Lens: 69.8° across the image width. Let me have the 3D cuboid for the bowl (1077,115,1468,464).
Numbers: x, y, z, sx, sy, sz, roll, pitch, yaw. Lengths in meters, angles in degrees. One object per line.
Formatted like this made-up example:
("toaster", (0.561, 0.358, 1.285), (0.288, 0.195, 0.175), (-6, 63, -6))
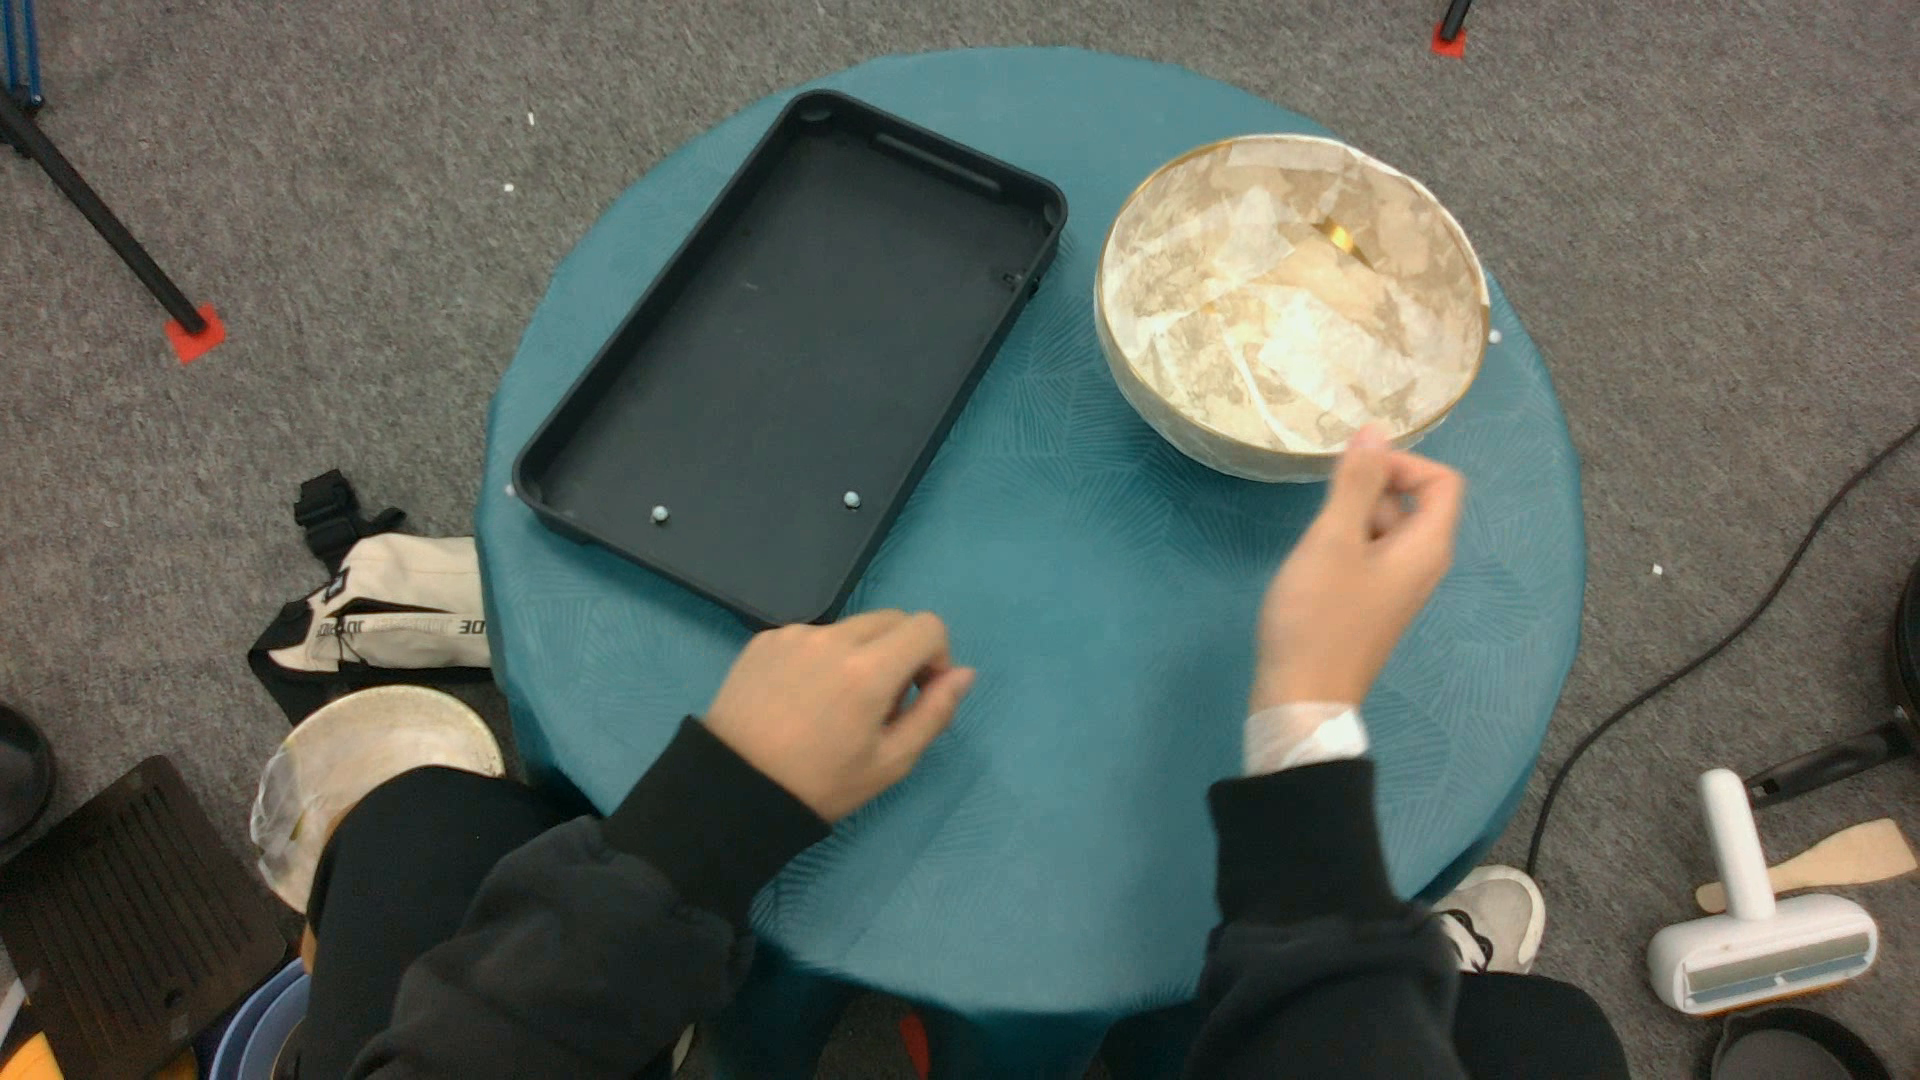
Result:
("bowl", (0.155, -0.120, 0.744), (0.215, 0.094, 0.215), (2, 65, -4))

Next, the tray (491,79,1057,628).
("tray", (-0.092, -0.115, 0.761), (0.184, 0.037, 0.319), (27, 64, 11))
